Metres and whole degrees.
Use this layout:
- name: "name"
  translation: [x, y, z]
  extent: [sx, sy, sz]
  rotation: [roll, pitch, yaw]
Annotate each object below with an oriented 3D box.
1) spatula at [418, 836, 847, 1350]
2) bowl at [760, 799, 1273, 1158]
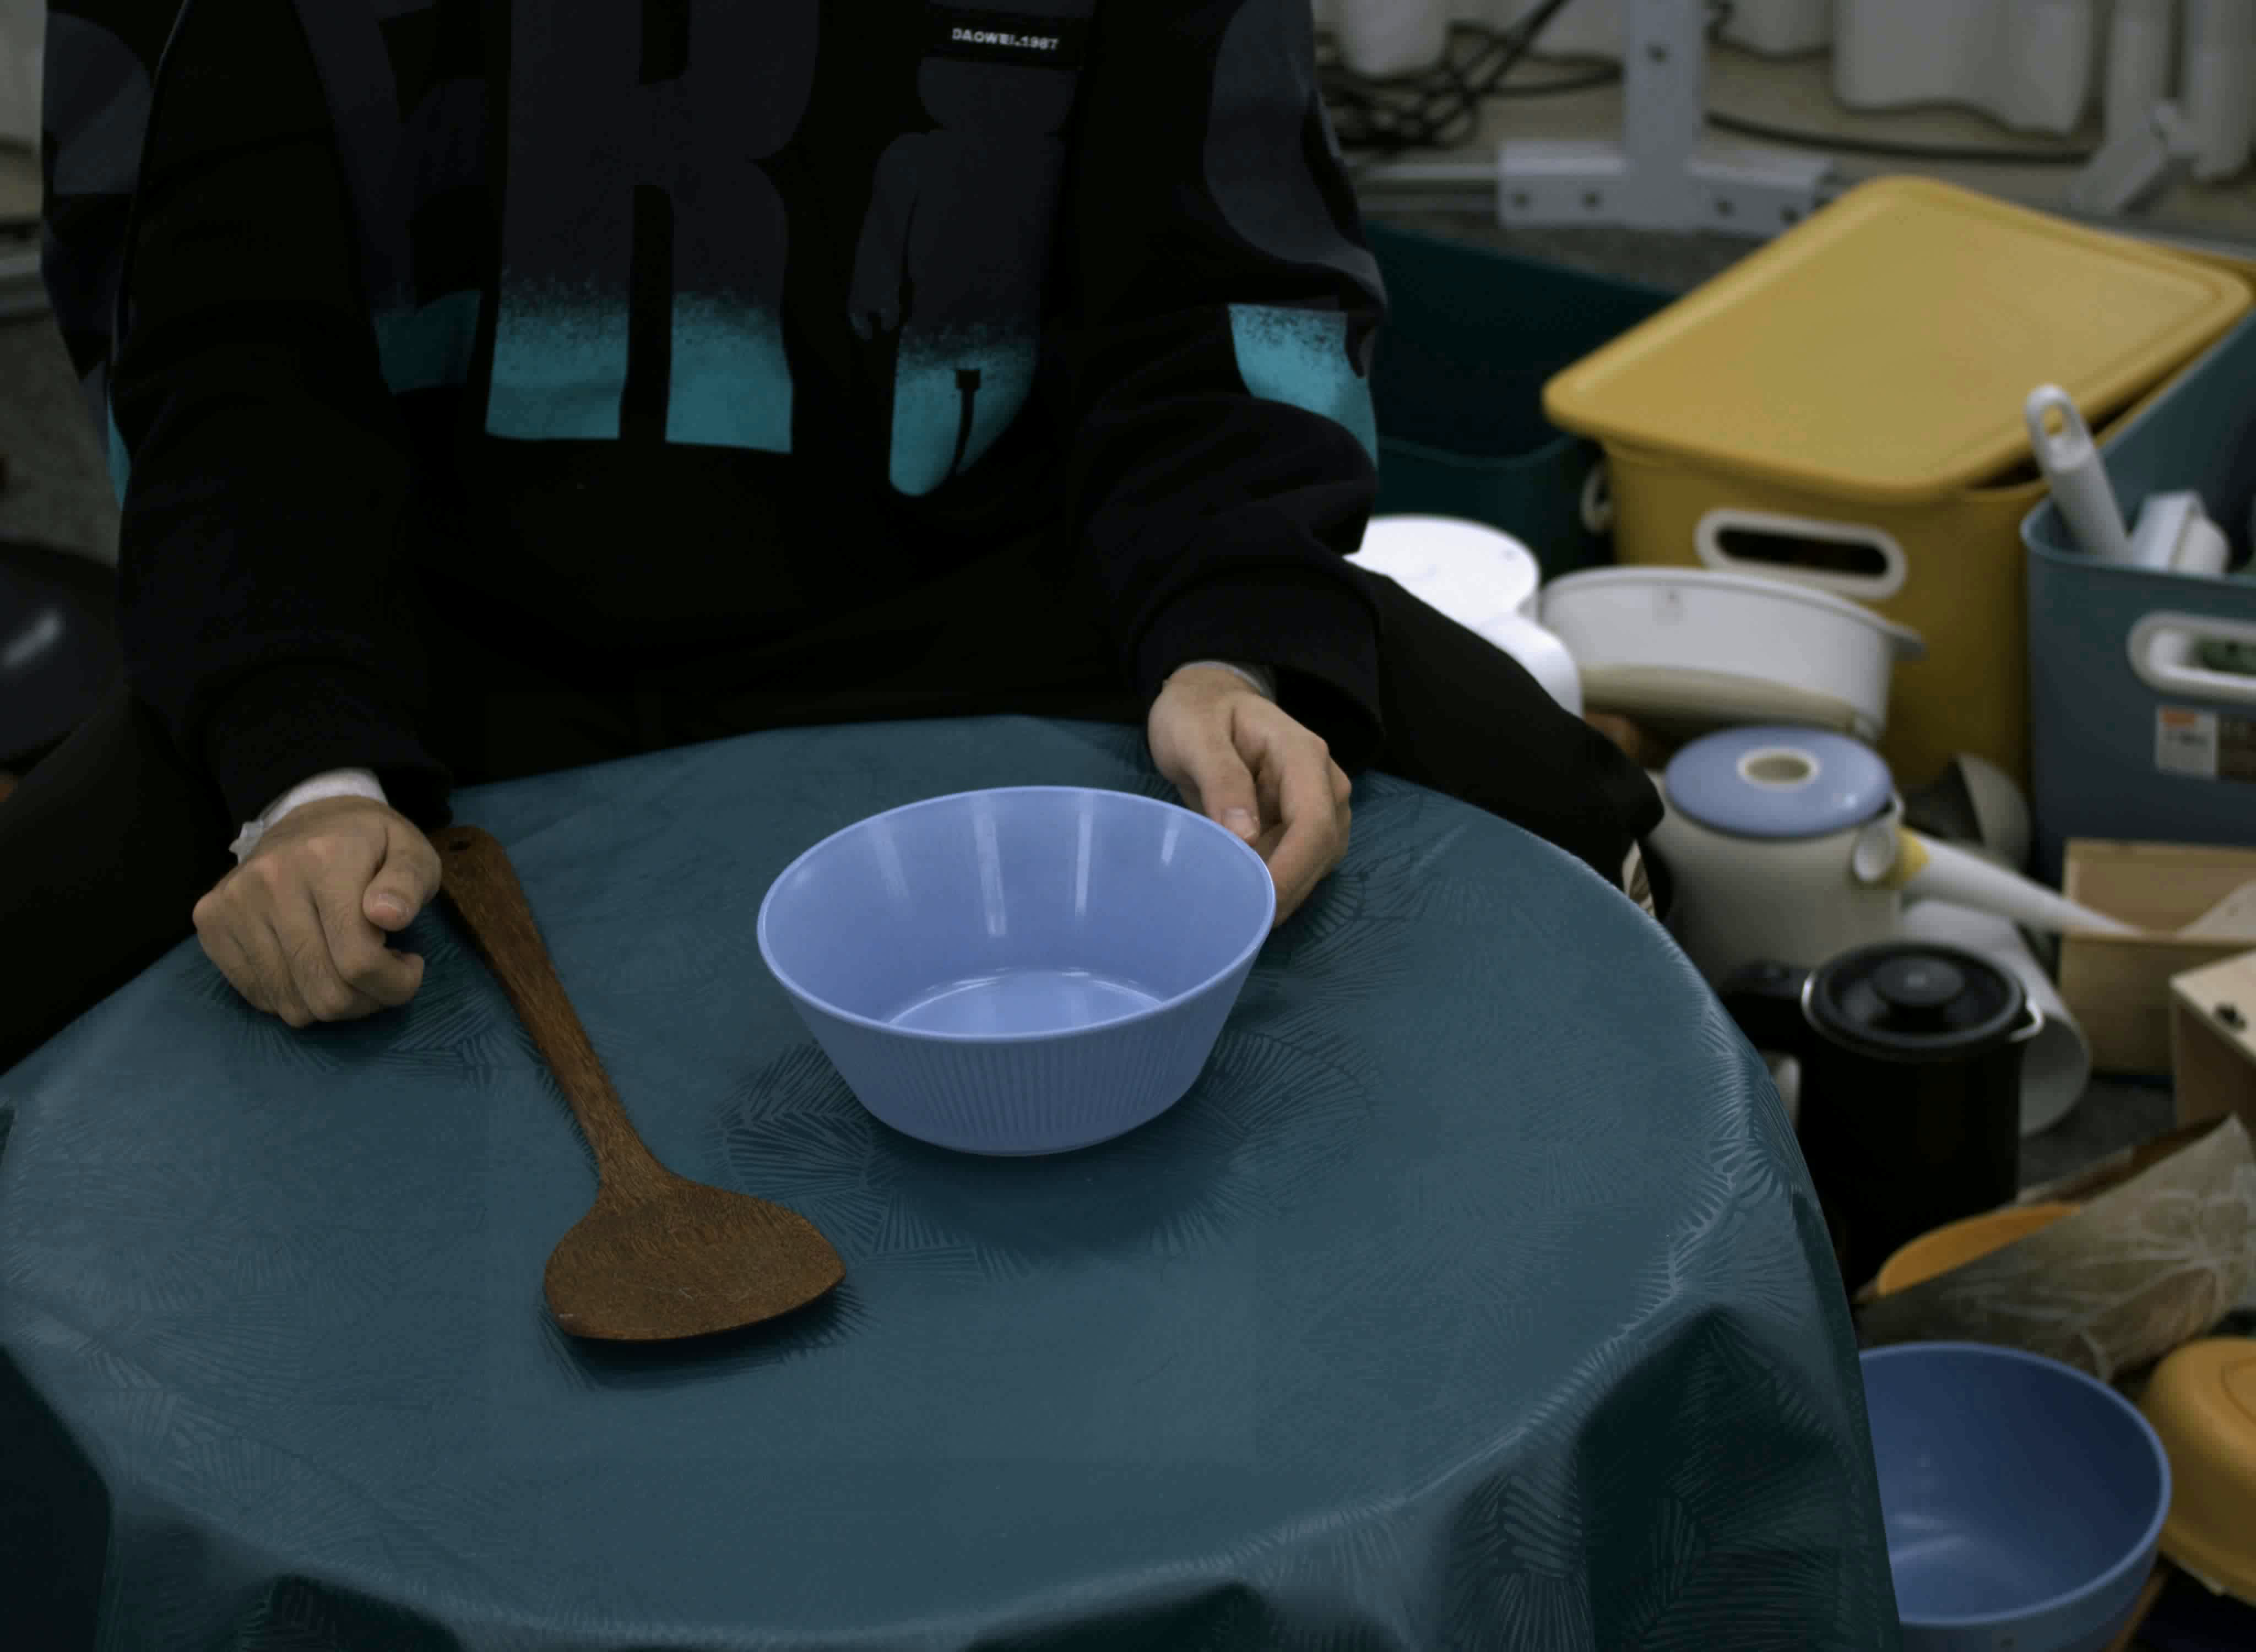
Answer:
- name: "spatula"
  translation: [-0.191, 0.084, 1.940]
  extent: [0.096, 0.015, 0.389]
  rotation: [-11, 28, -16]
- name: "bowl"
  translation: [-0.036, 0.057, 1.915]
  extent: [0.175, 0.069, 0.178]
  rotation: [-2, 26, 1]
